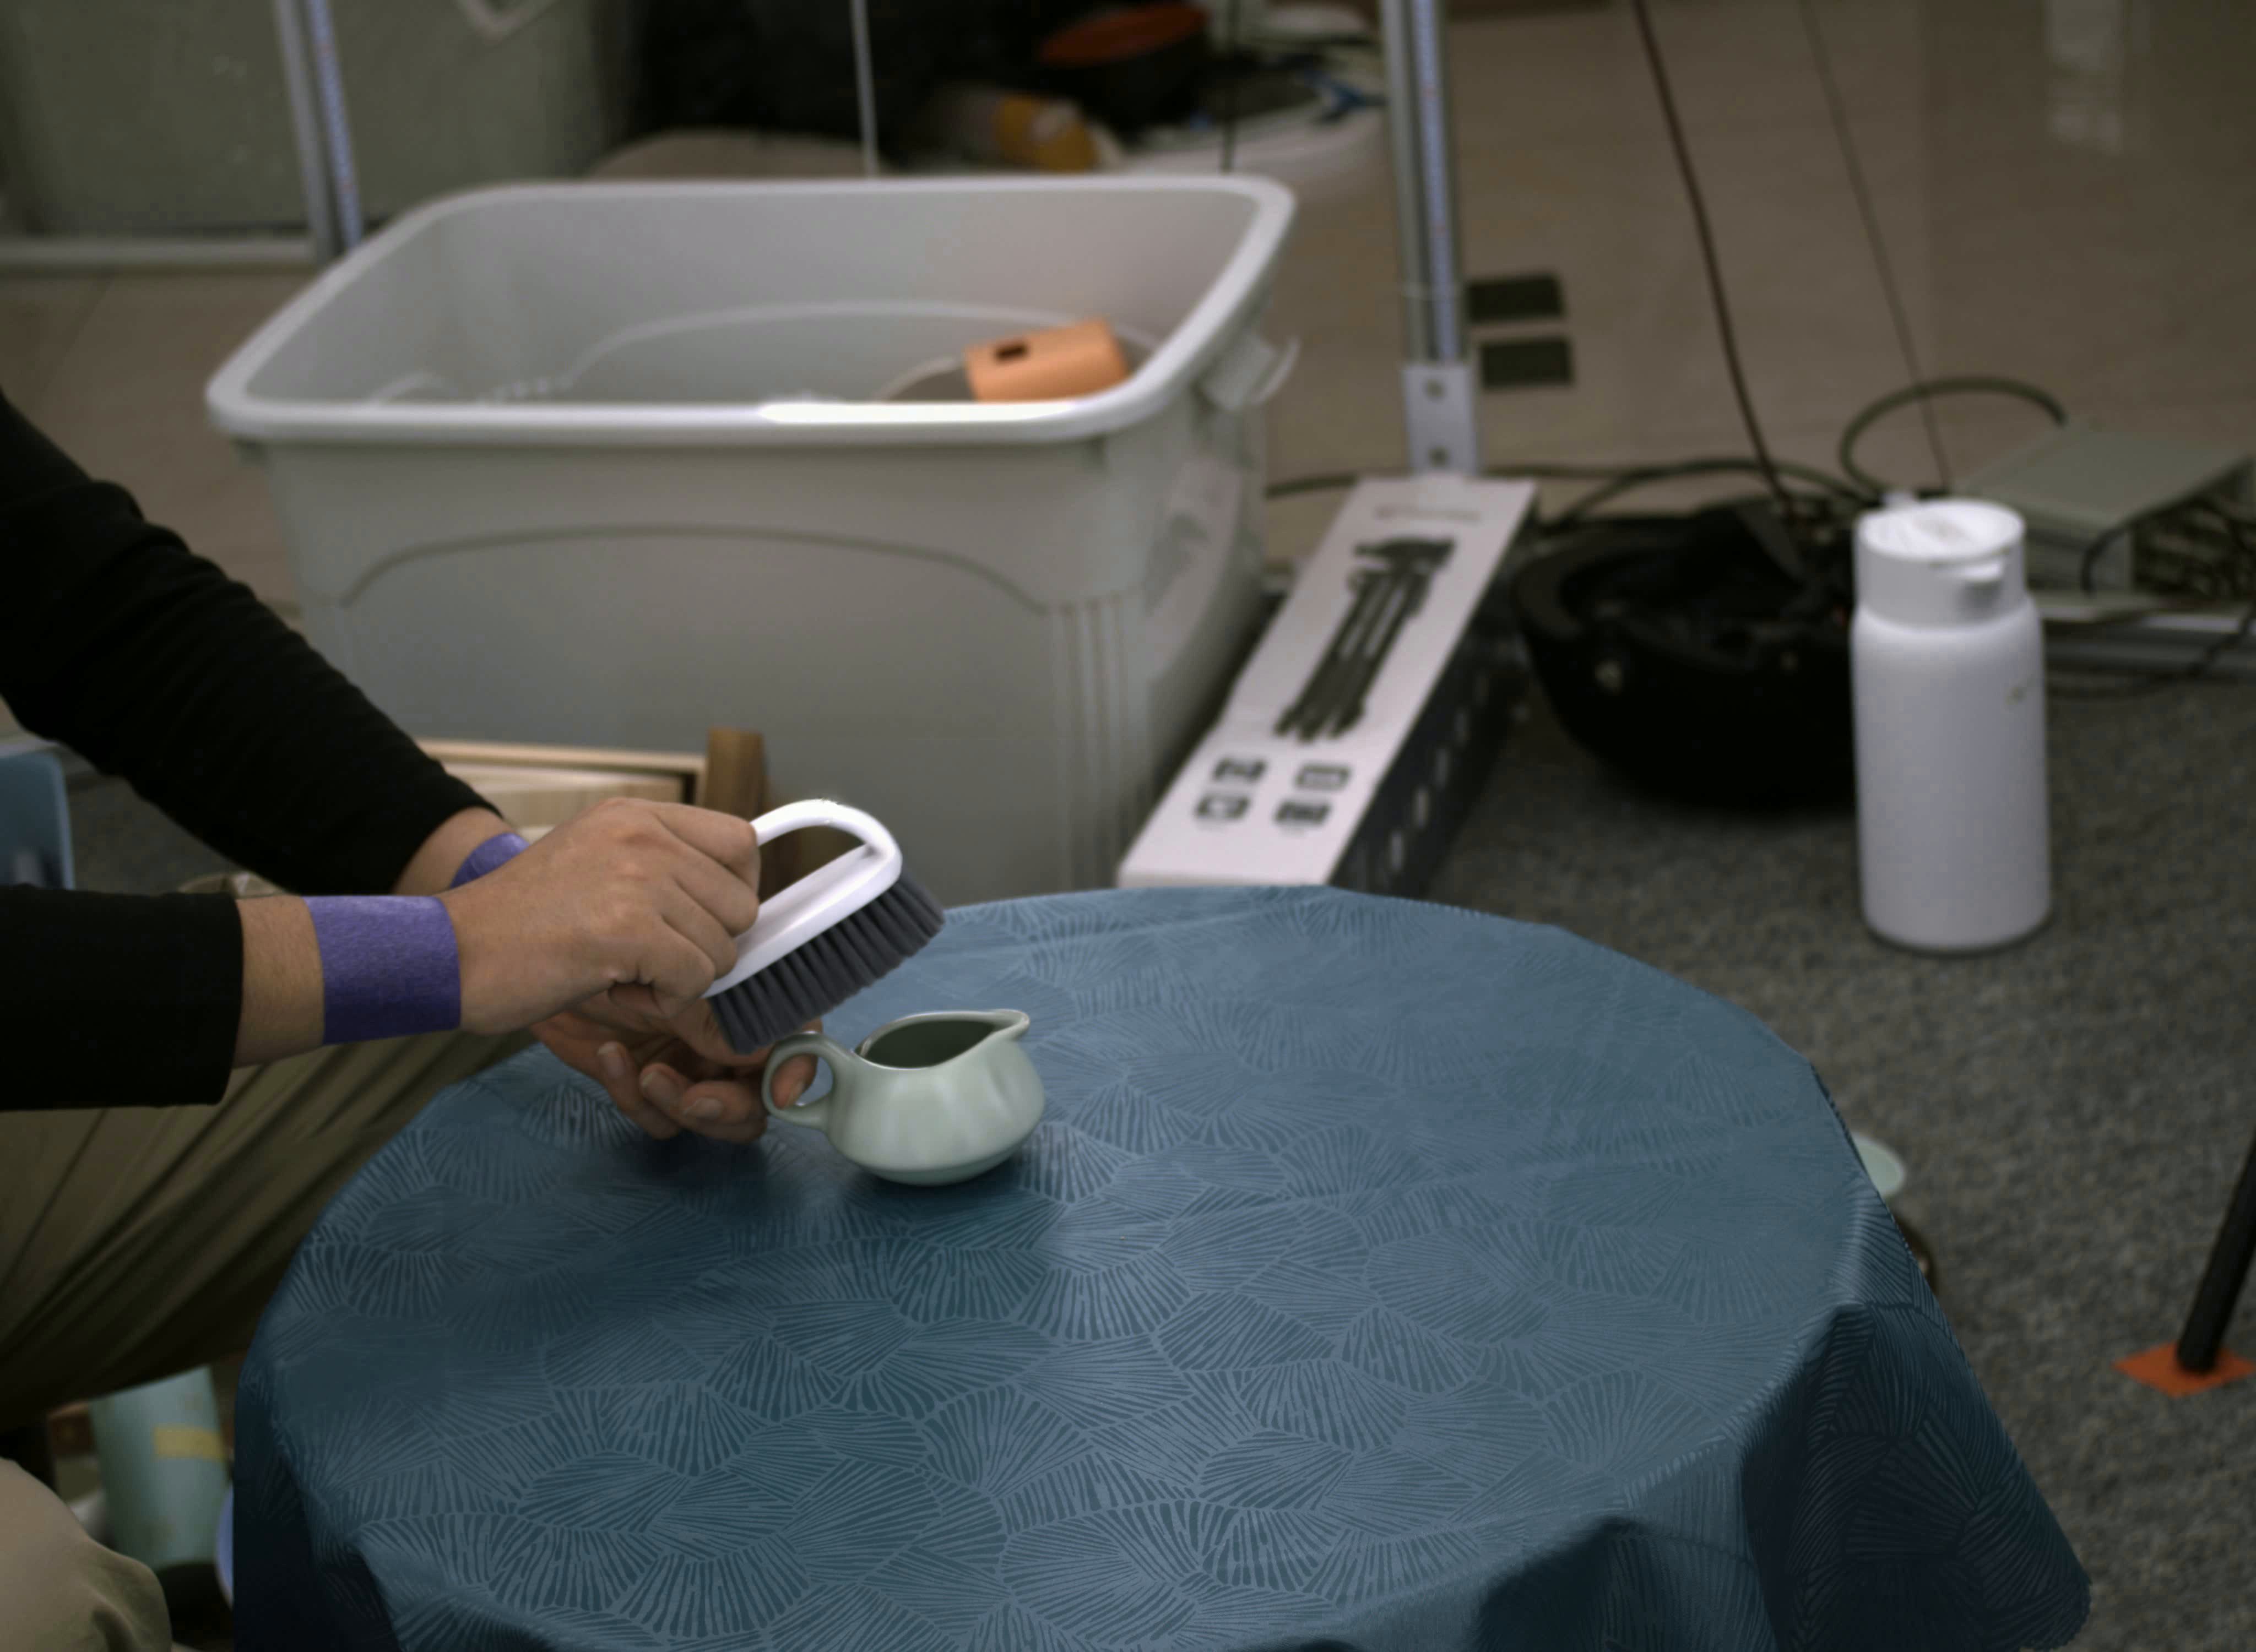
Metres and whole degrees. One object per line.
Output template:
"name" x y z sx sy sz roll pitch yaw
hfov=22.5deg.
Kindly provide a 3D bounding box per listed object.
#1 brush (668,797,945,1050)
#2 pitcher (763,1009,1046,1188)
"brush" -0.129 0.030 2.151 0.099 0.073 0.049 -30 20 5
"pitcher" -0.086 0.105 2.175 0.108 0.061 0.085 -10 24 1
